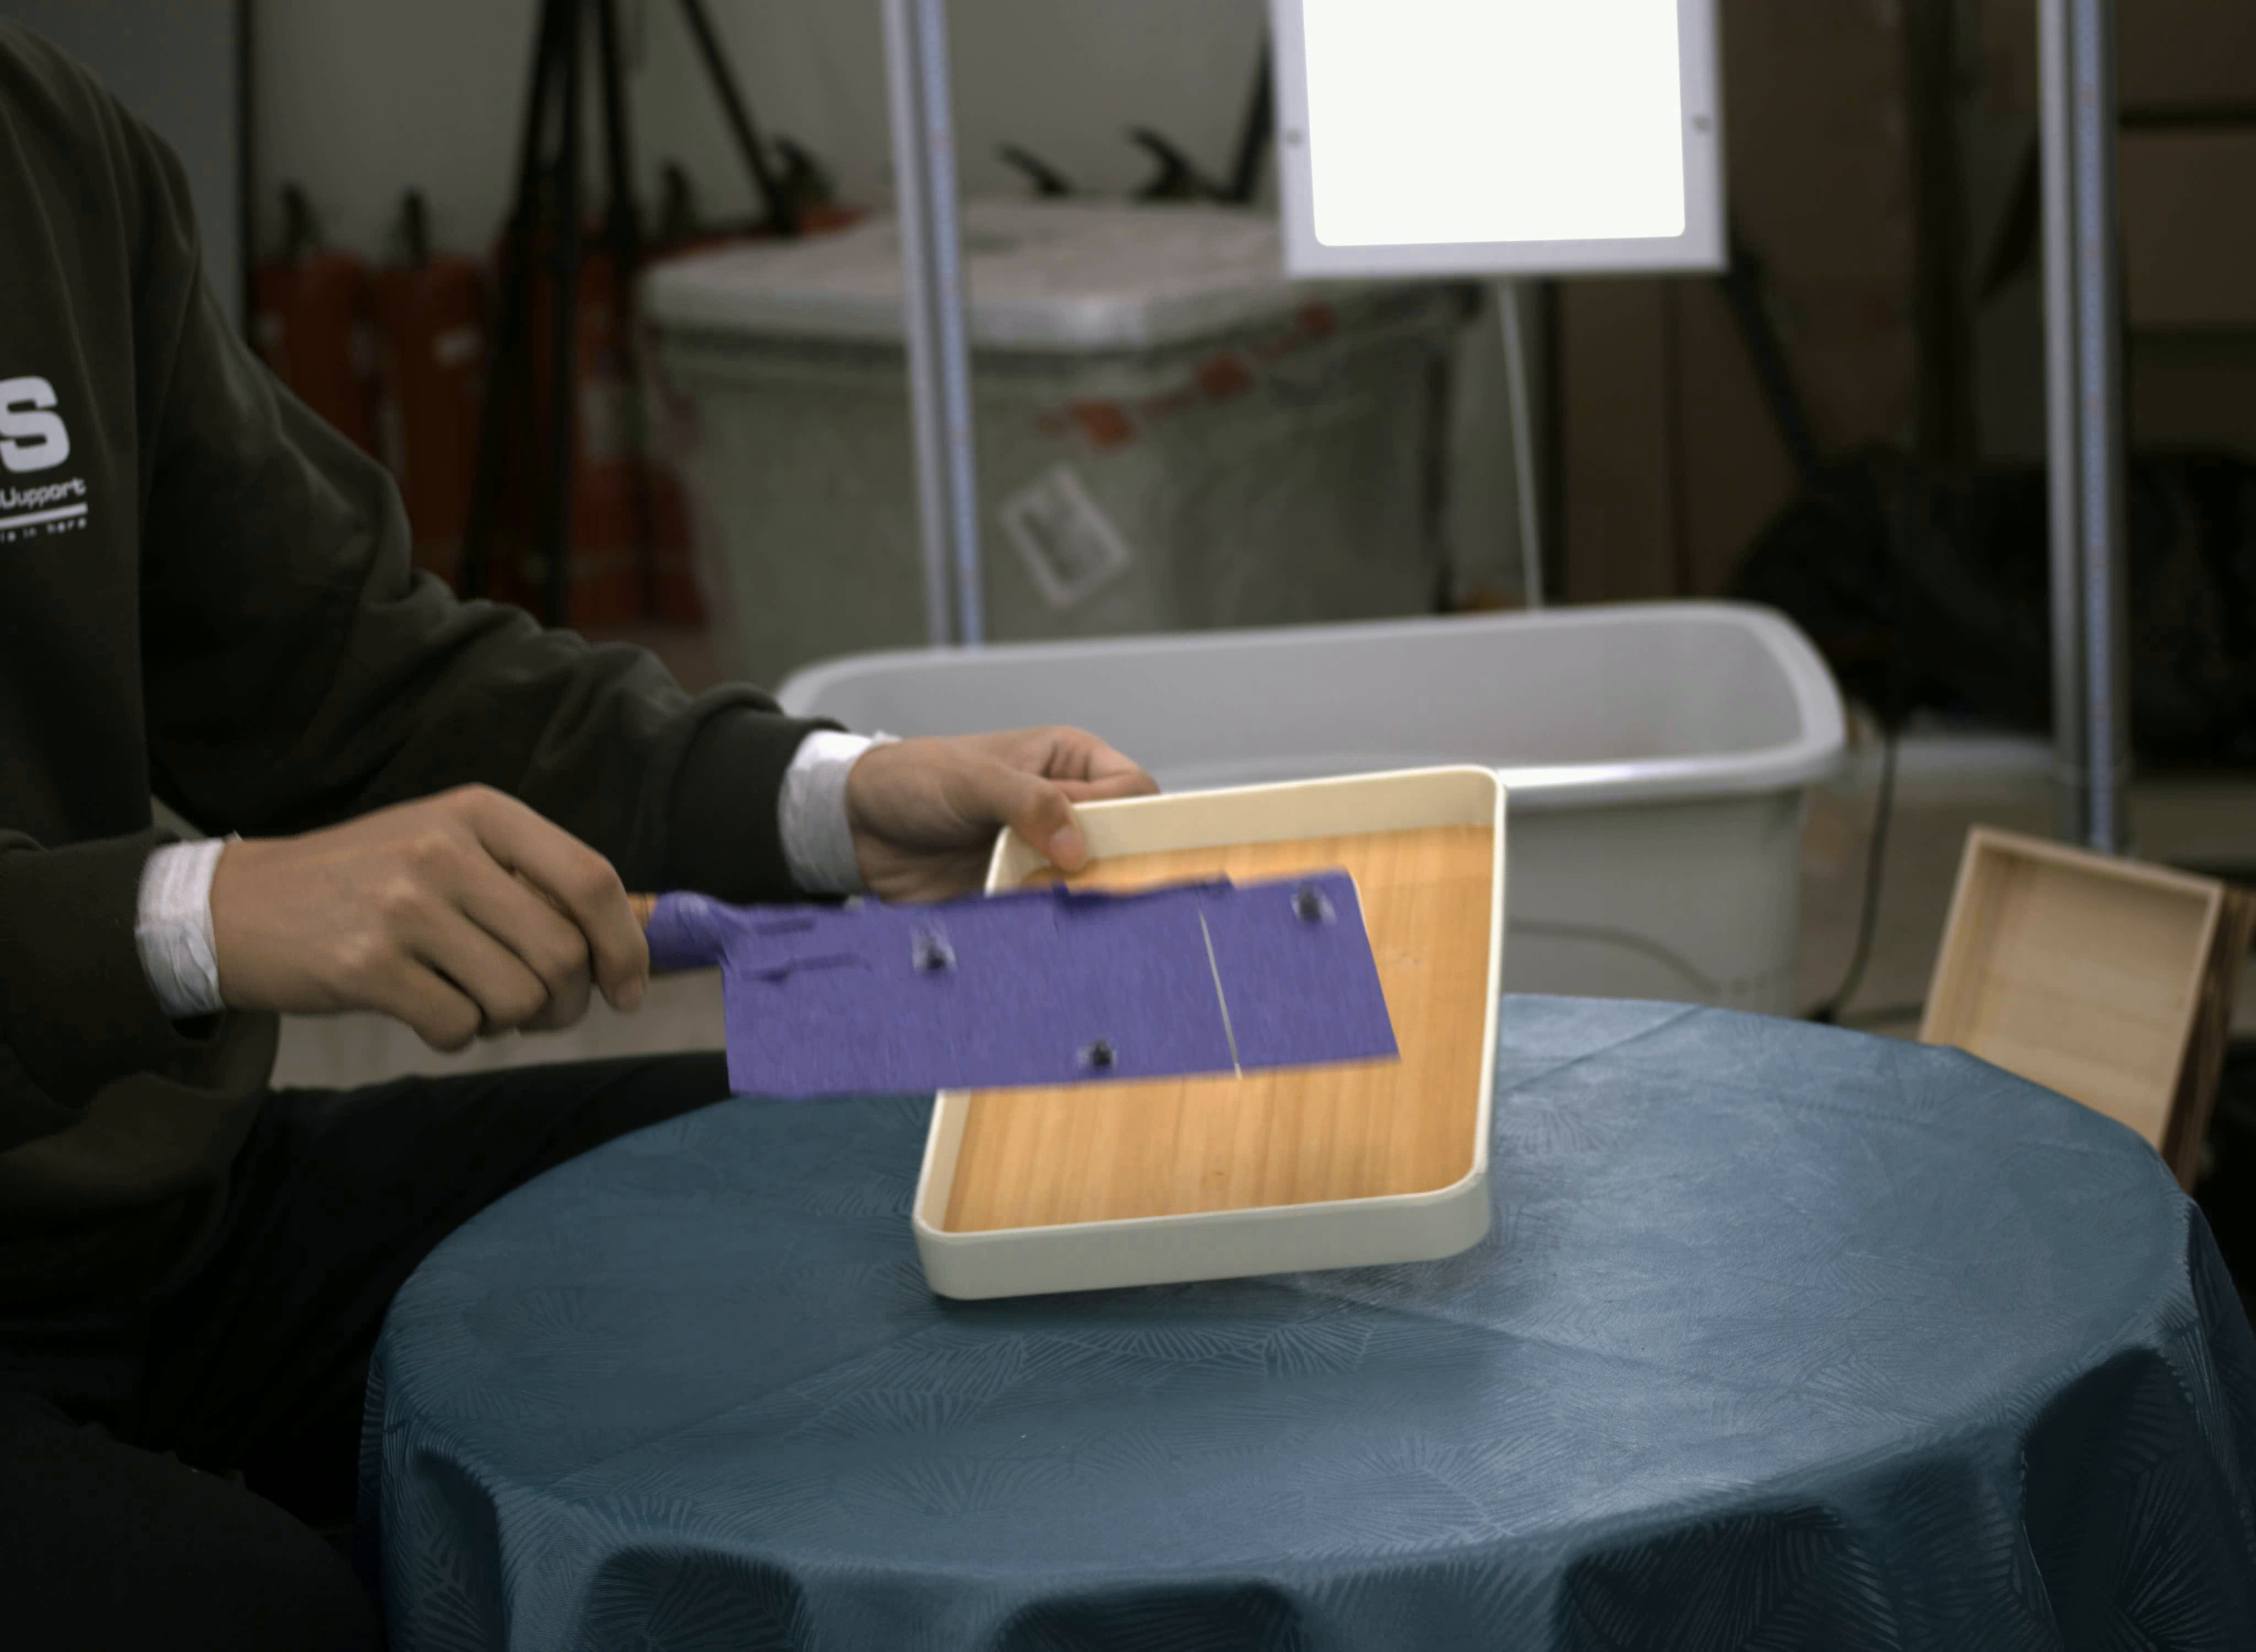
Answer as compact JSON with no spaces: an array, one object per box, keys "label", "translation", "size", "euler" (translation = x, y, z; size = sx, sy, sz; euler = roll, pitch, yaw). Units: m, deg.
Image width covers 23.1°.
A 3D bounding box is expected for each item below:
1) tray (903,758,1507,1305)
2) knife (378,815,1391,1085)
[{"label":"tray","translation":[0.033,0.066,1.903],"size":[0.193,0.027,0.298],"euler":[-7,28,11]},{"label":"knife","translation":[-0.077,0.043,1.725],"size":[0.314,0.032,0.104],"euler":[-7,39,-2]}]
